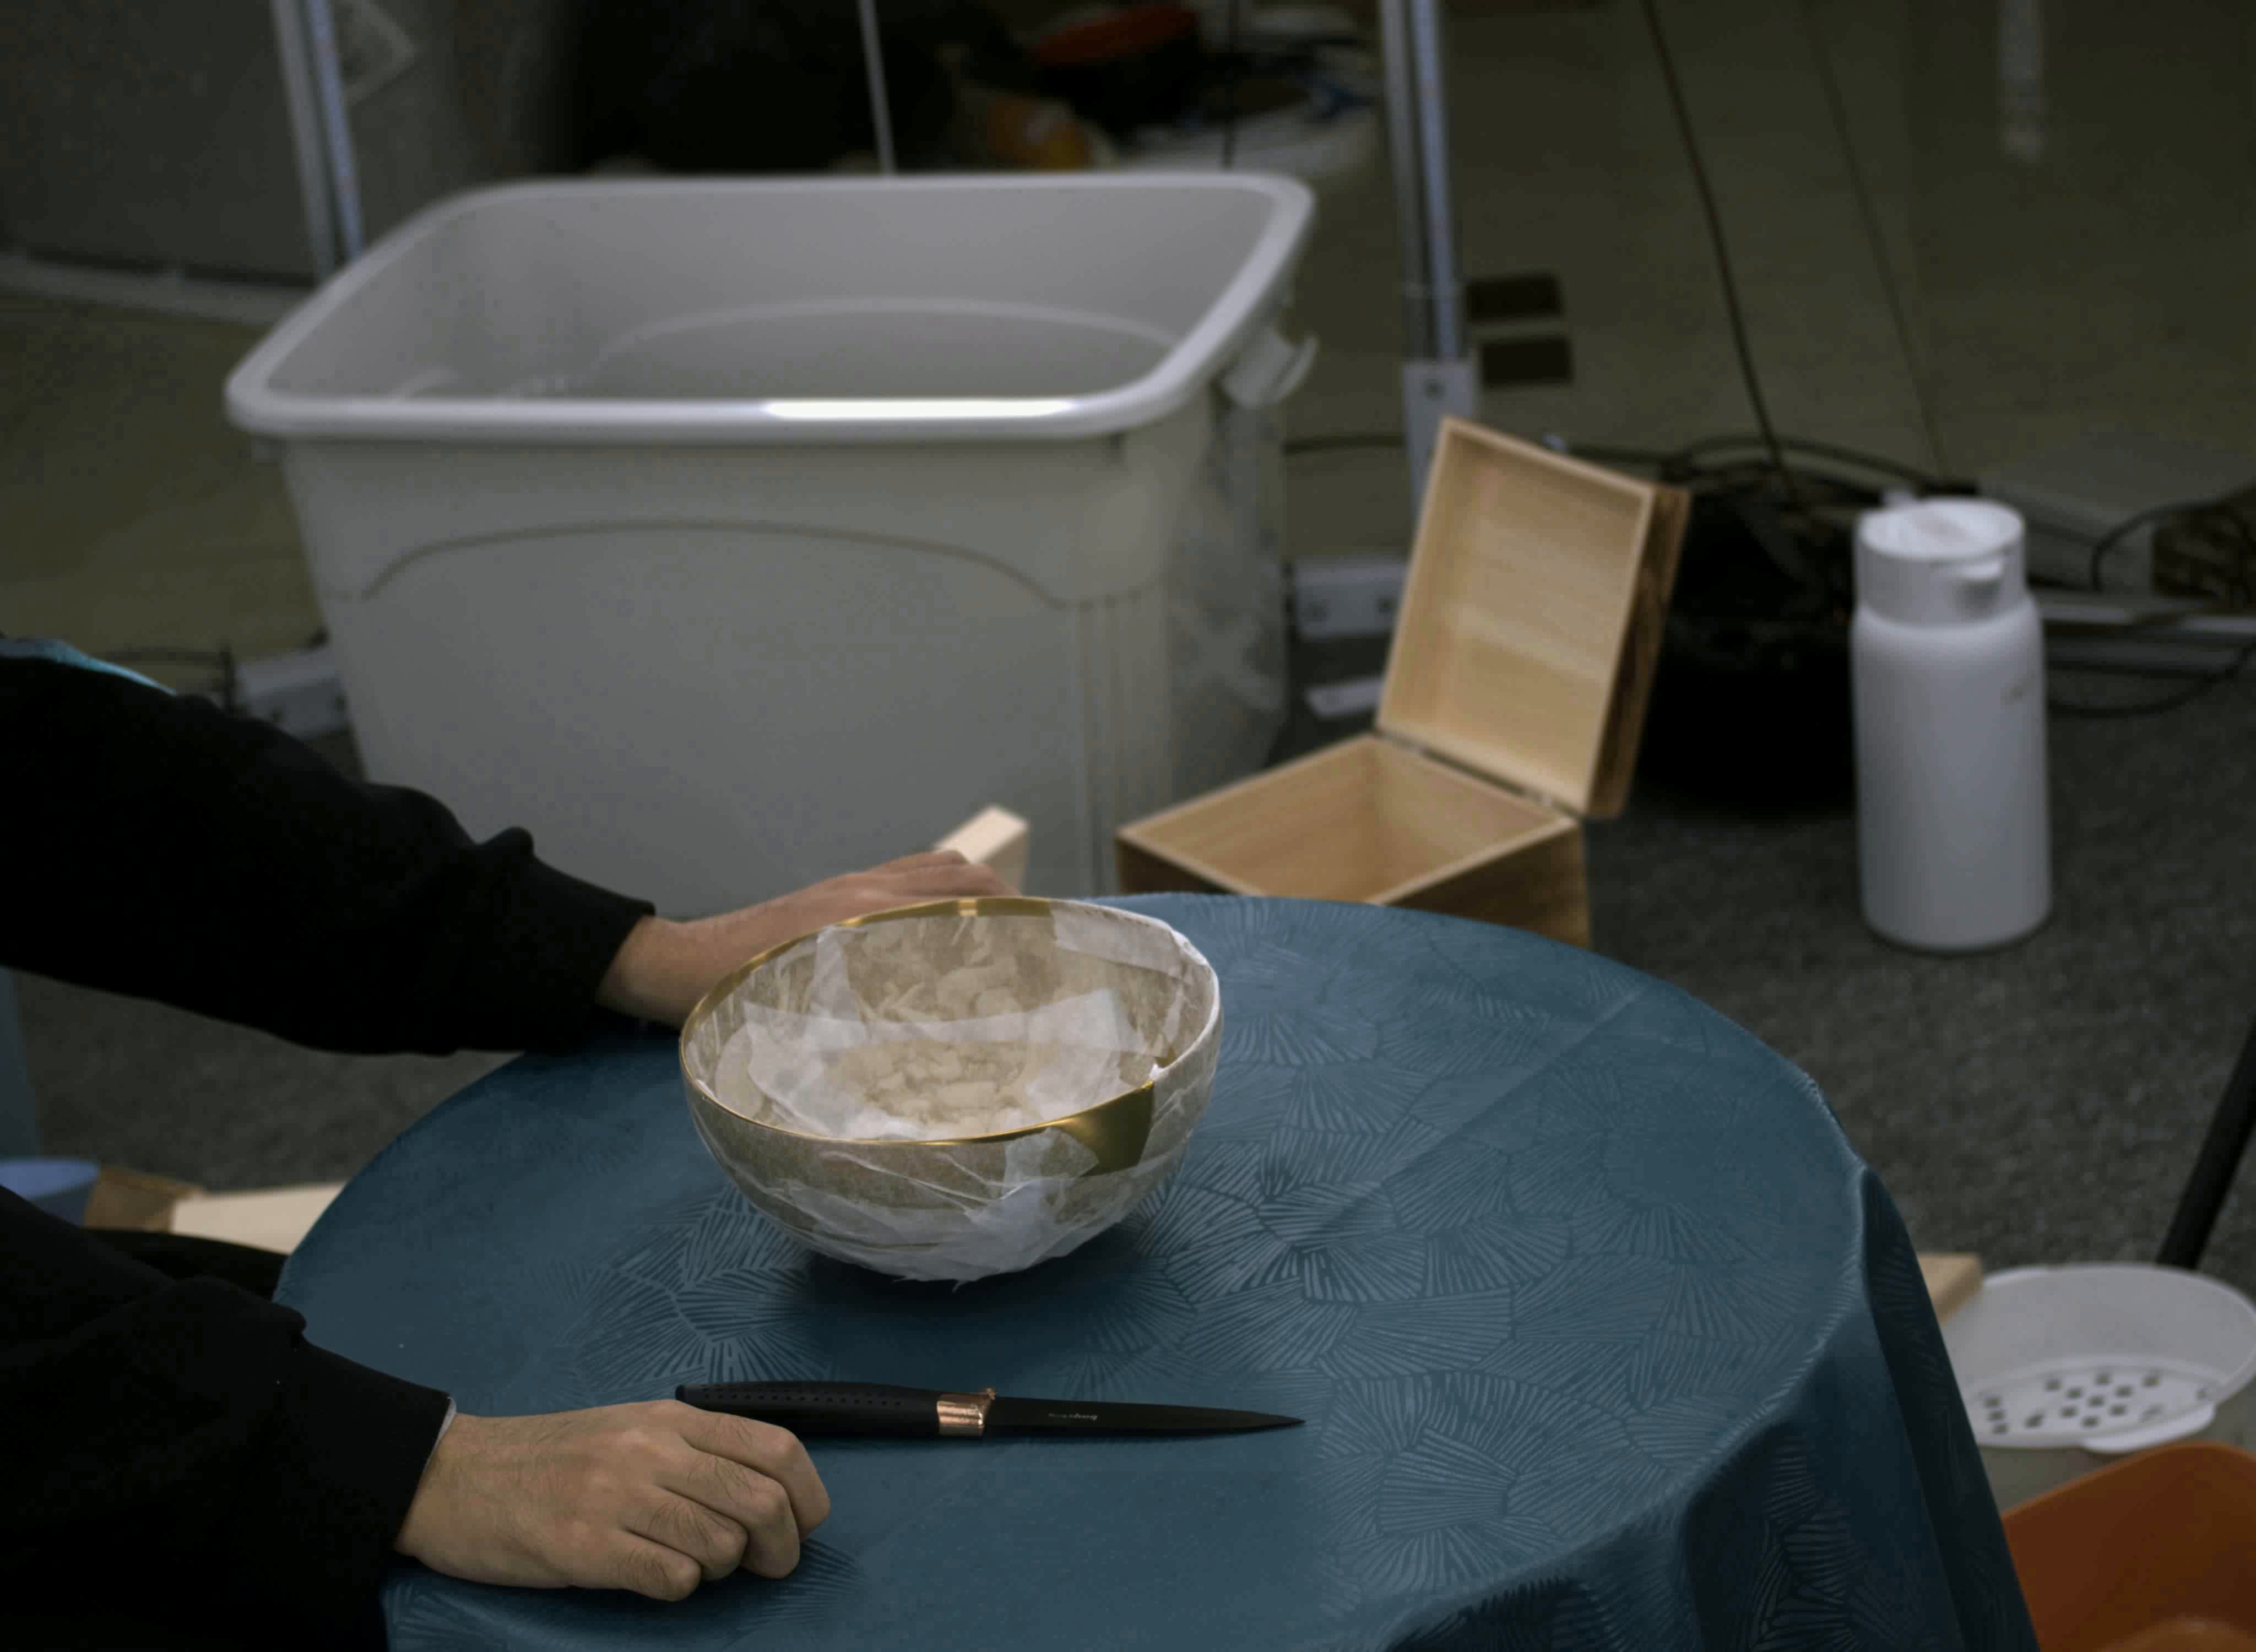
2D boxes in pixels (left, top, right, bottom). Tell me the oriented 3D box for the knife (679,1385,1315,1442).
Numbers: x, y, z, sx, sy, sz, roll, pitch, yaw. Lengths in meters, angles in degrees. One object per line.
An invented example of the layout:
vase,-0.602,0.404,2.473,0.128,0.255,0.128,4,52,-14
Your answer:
knife,-0.047,0.207,2.002,0.225,0.017,0.026,-2,18,8

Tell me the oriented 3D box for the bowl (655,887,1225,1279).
bowl,-0.065,0.108,2.115,0.214,0.096,0.211,-5,27,3
